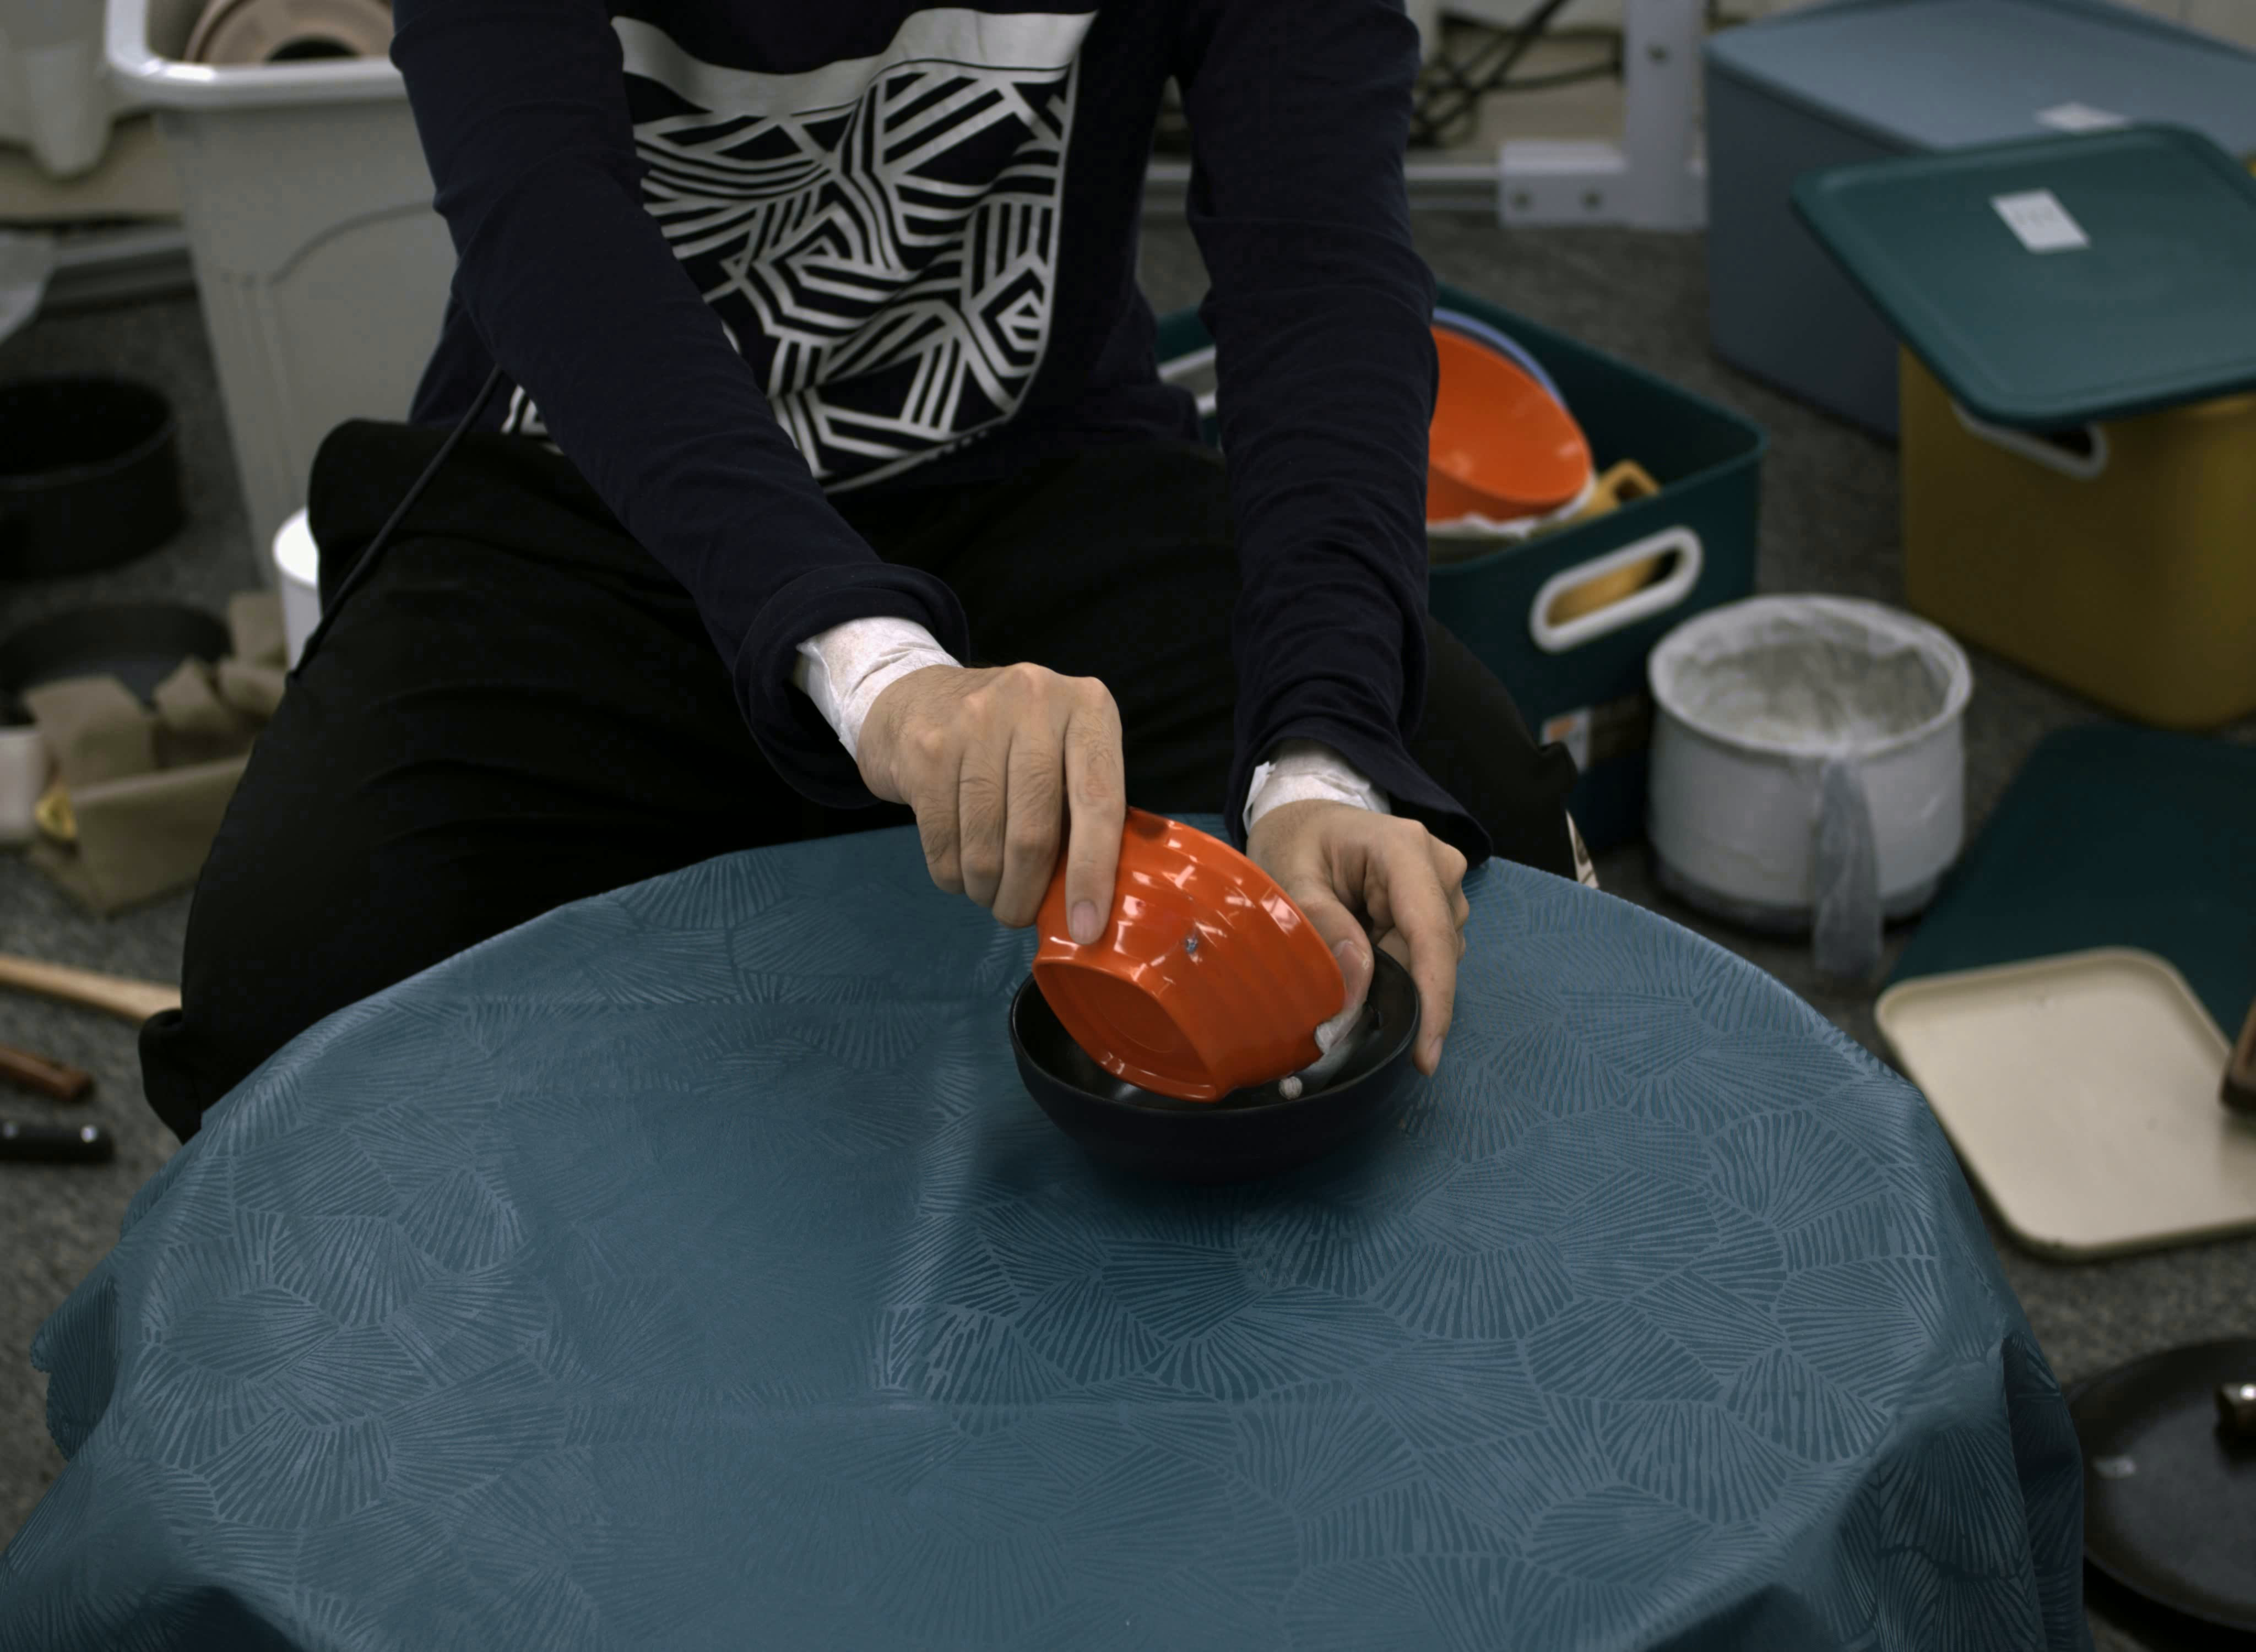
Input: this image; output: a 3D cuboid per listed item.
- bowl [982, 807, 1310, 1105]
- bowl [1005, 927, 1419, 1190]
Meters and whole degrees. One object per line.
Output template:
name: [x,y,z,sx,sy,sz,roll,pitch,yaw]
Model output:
bowl: [-0.003,0.049,1.835,0.118,0.117,0.052,22,66,39]
bowl: [0.029,0.084,1.882,0.139,0.049,0.142,-2,23,1]
